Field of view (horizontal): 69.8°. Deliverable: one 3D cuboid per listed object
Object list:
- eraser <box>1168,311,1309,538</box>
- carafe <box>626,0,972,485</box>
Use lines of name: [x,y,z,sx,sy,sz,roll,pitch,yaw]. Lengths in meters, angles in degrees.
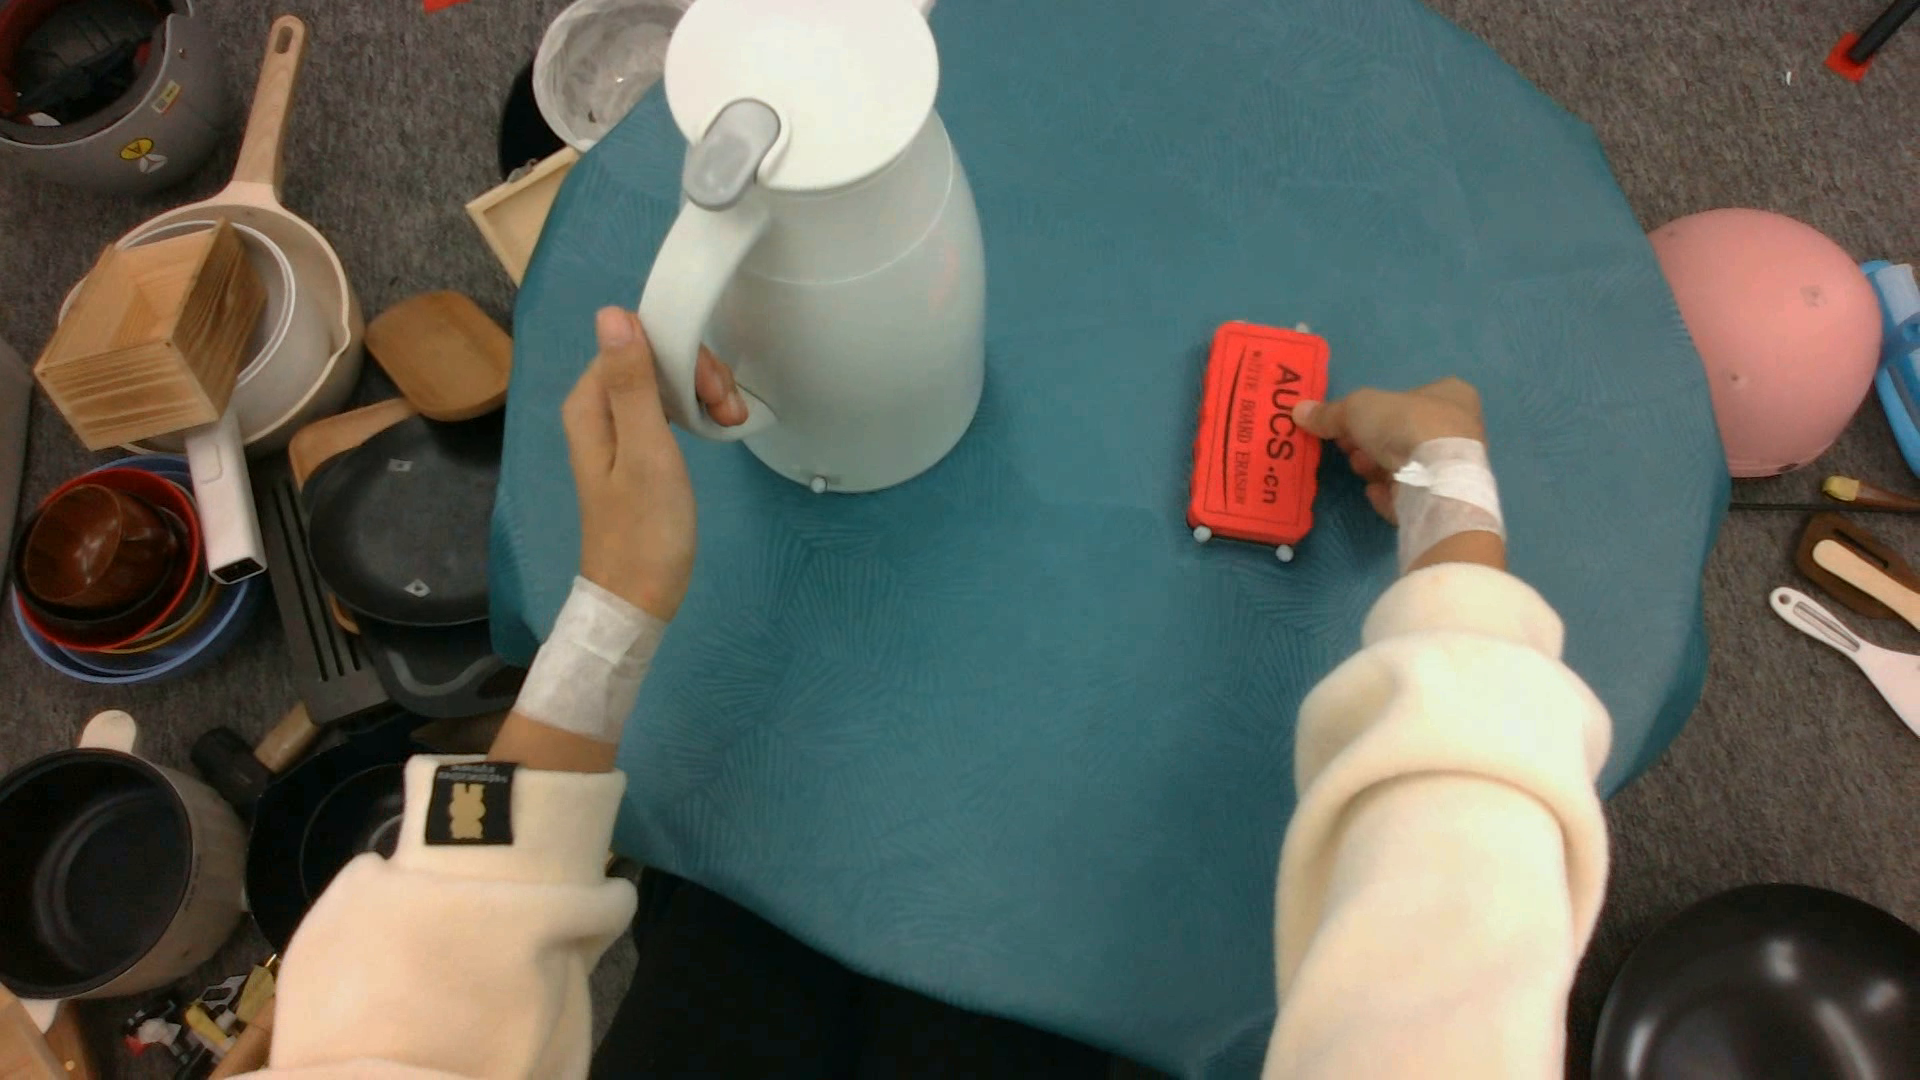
eraser: [0.137,-0.057,0.675,0.059,0.023,0.108,9,71,1]
carafe: [-0.068,-0.111,0.569,0.132,0.248,0.168,32,75,8]
